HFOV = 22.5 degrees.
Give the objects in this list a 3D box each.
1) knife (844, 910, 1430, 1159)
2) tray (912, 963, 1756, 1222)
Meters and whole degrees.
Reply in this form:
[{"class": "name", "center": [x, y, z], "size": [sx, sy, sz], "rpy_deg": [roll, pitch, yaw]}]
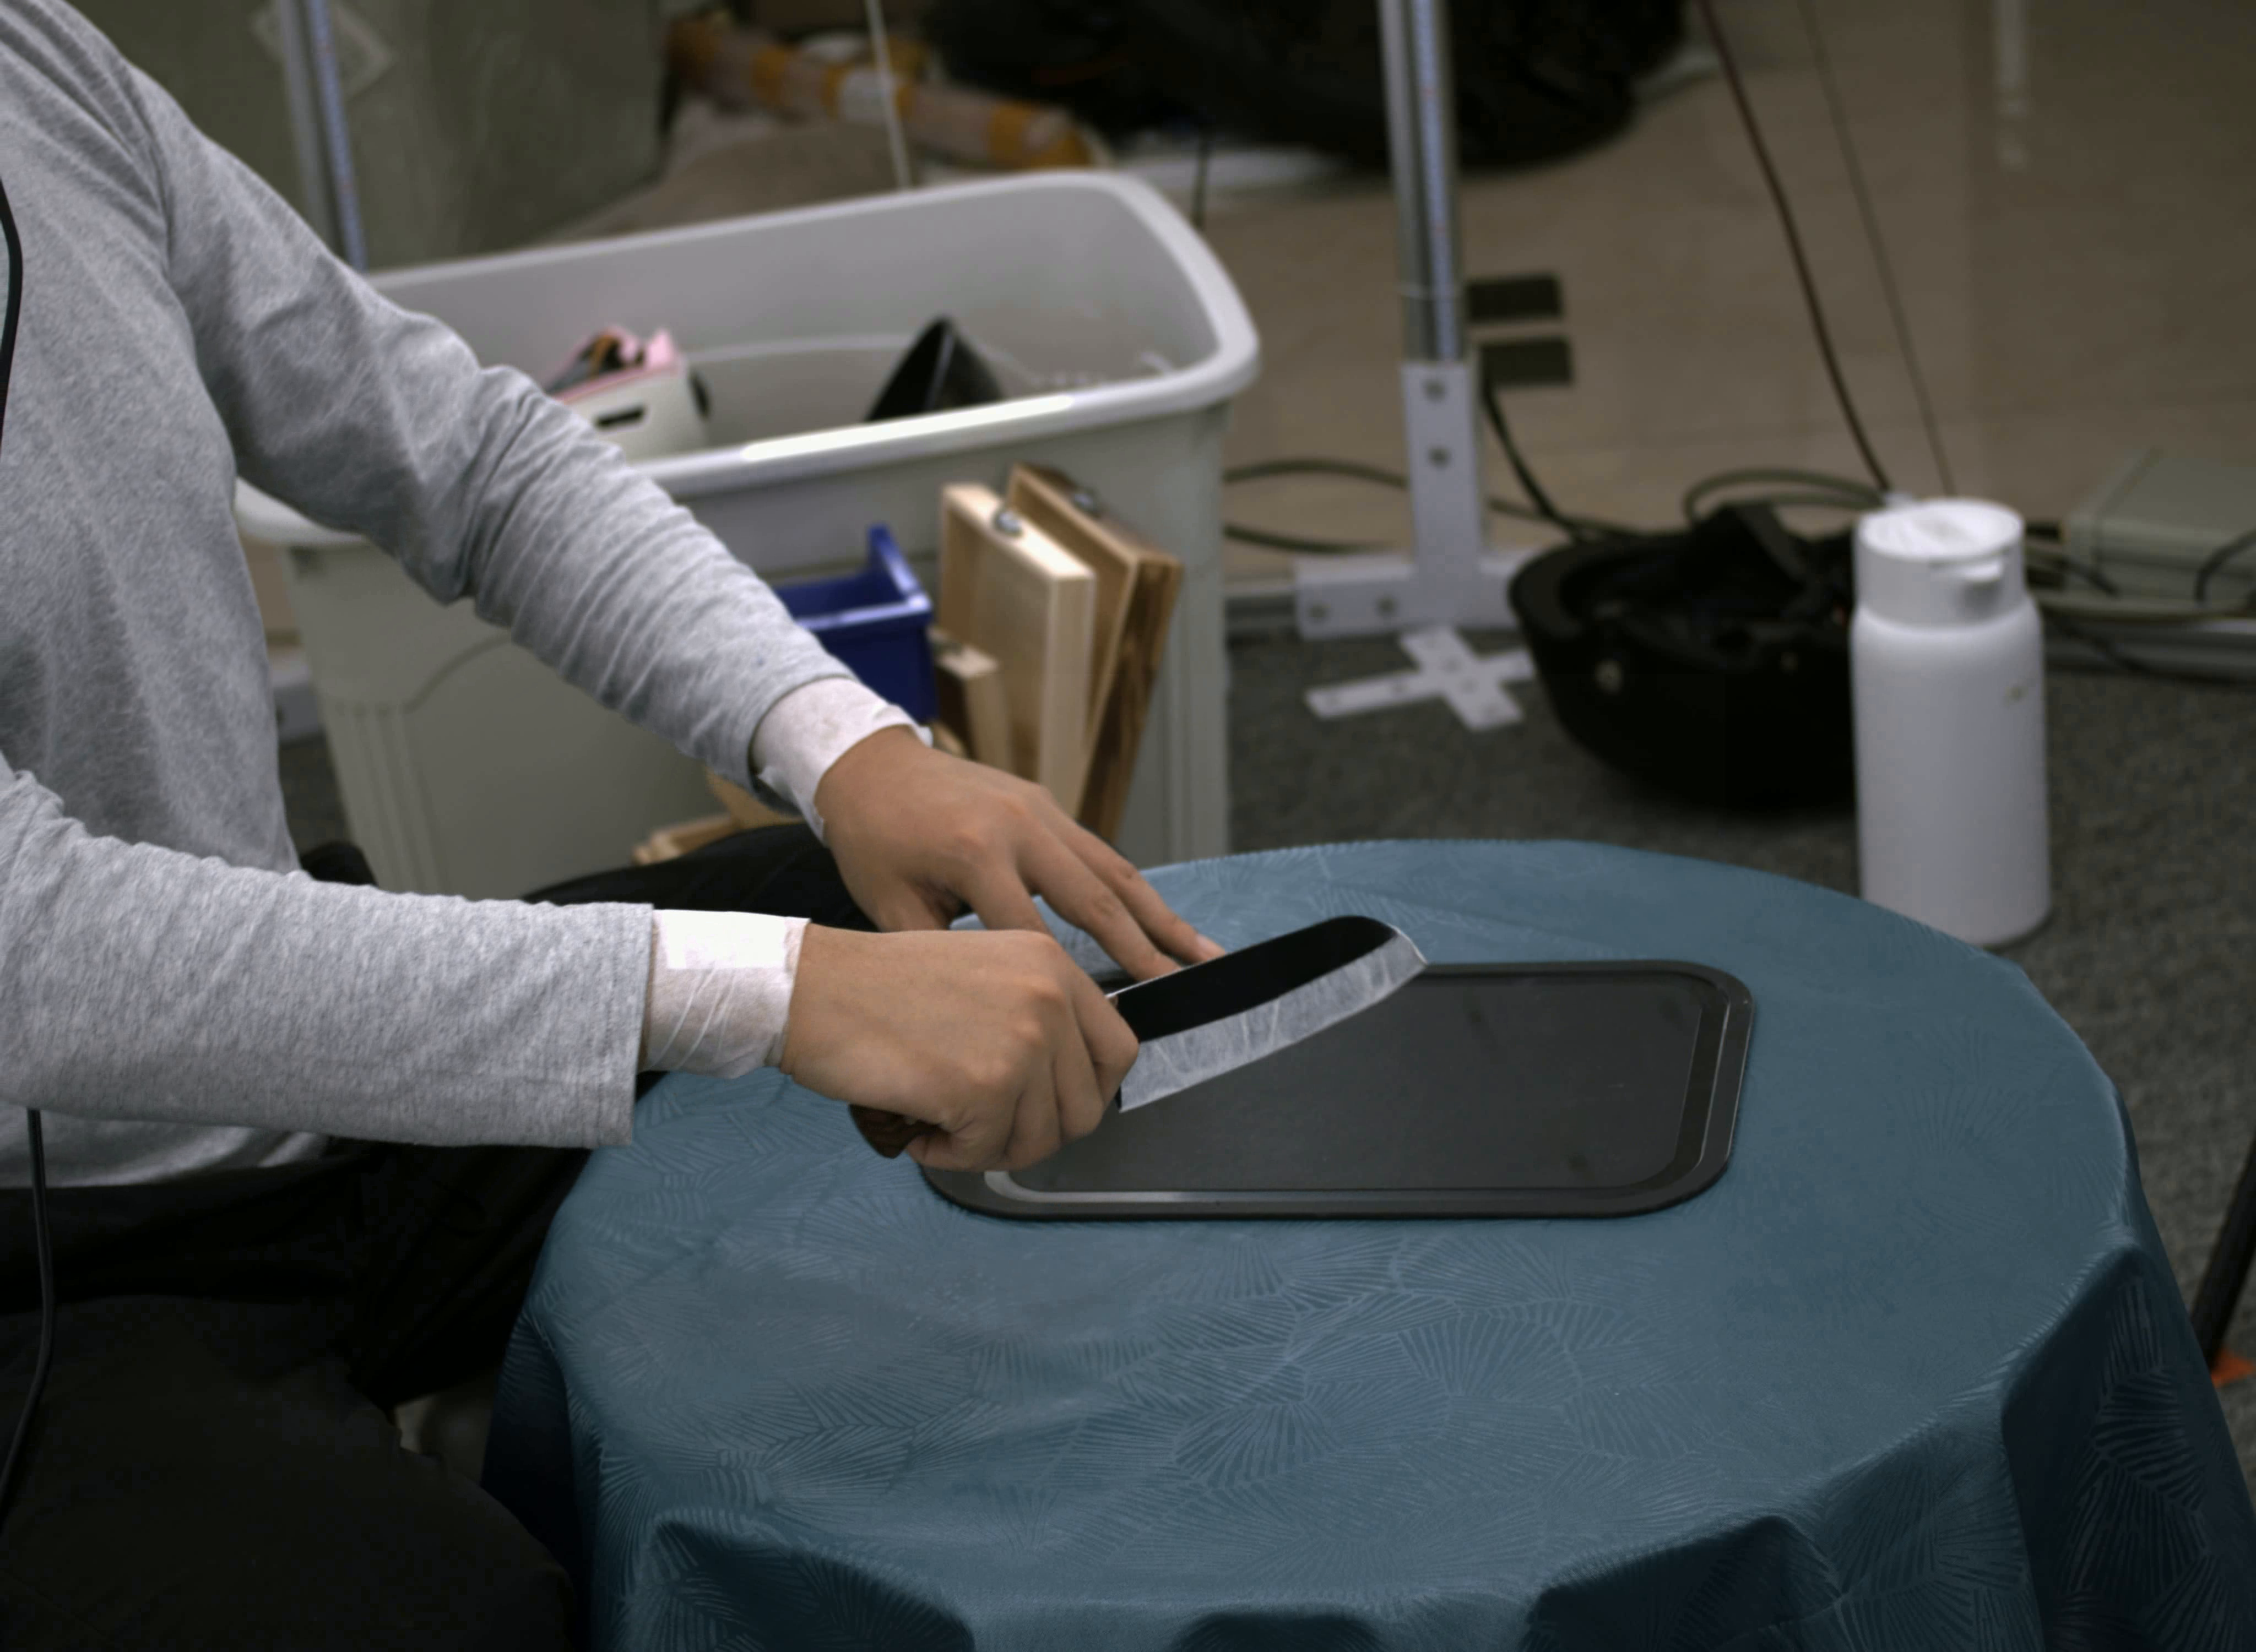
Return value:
[{"class": "knife", "center": [0.010, 0.076, 2.059], "size": [0.287, 0.051, 0.020], "rpy_deg": [-15, 18, -41]}, {"class": "tray", "center": [0.077, 0.101, 2.209], "size": [0.325, 0.010, 0.208], "rpy_deg": [-1, 25, 13]}]
